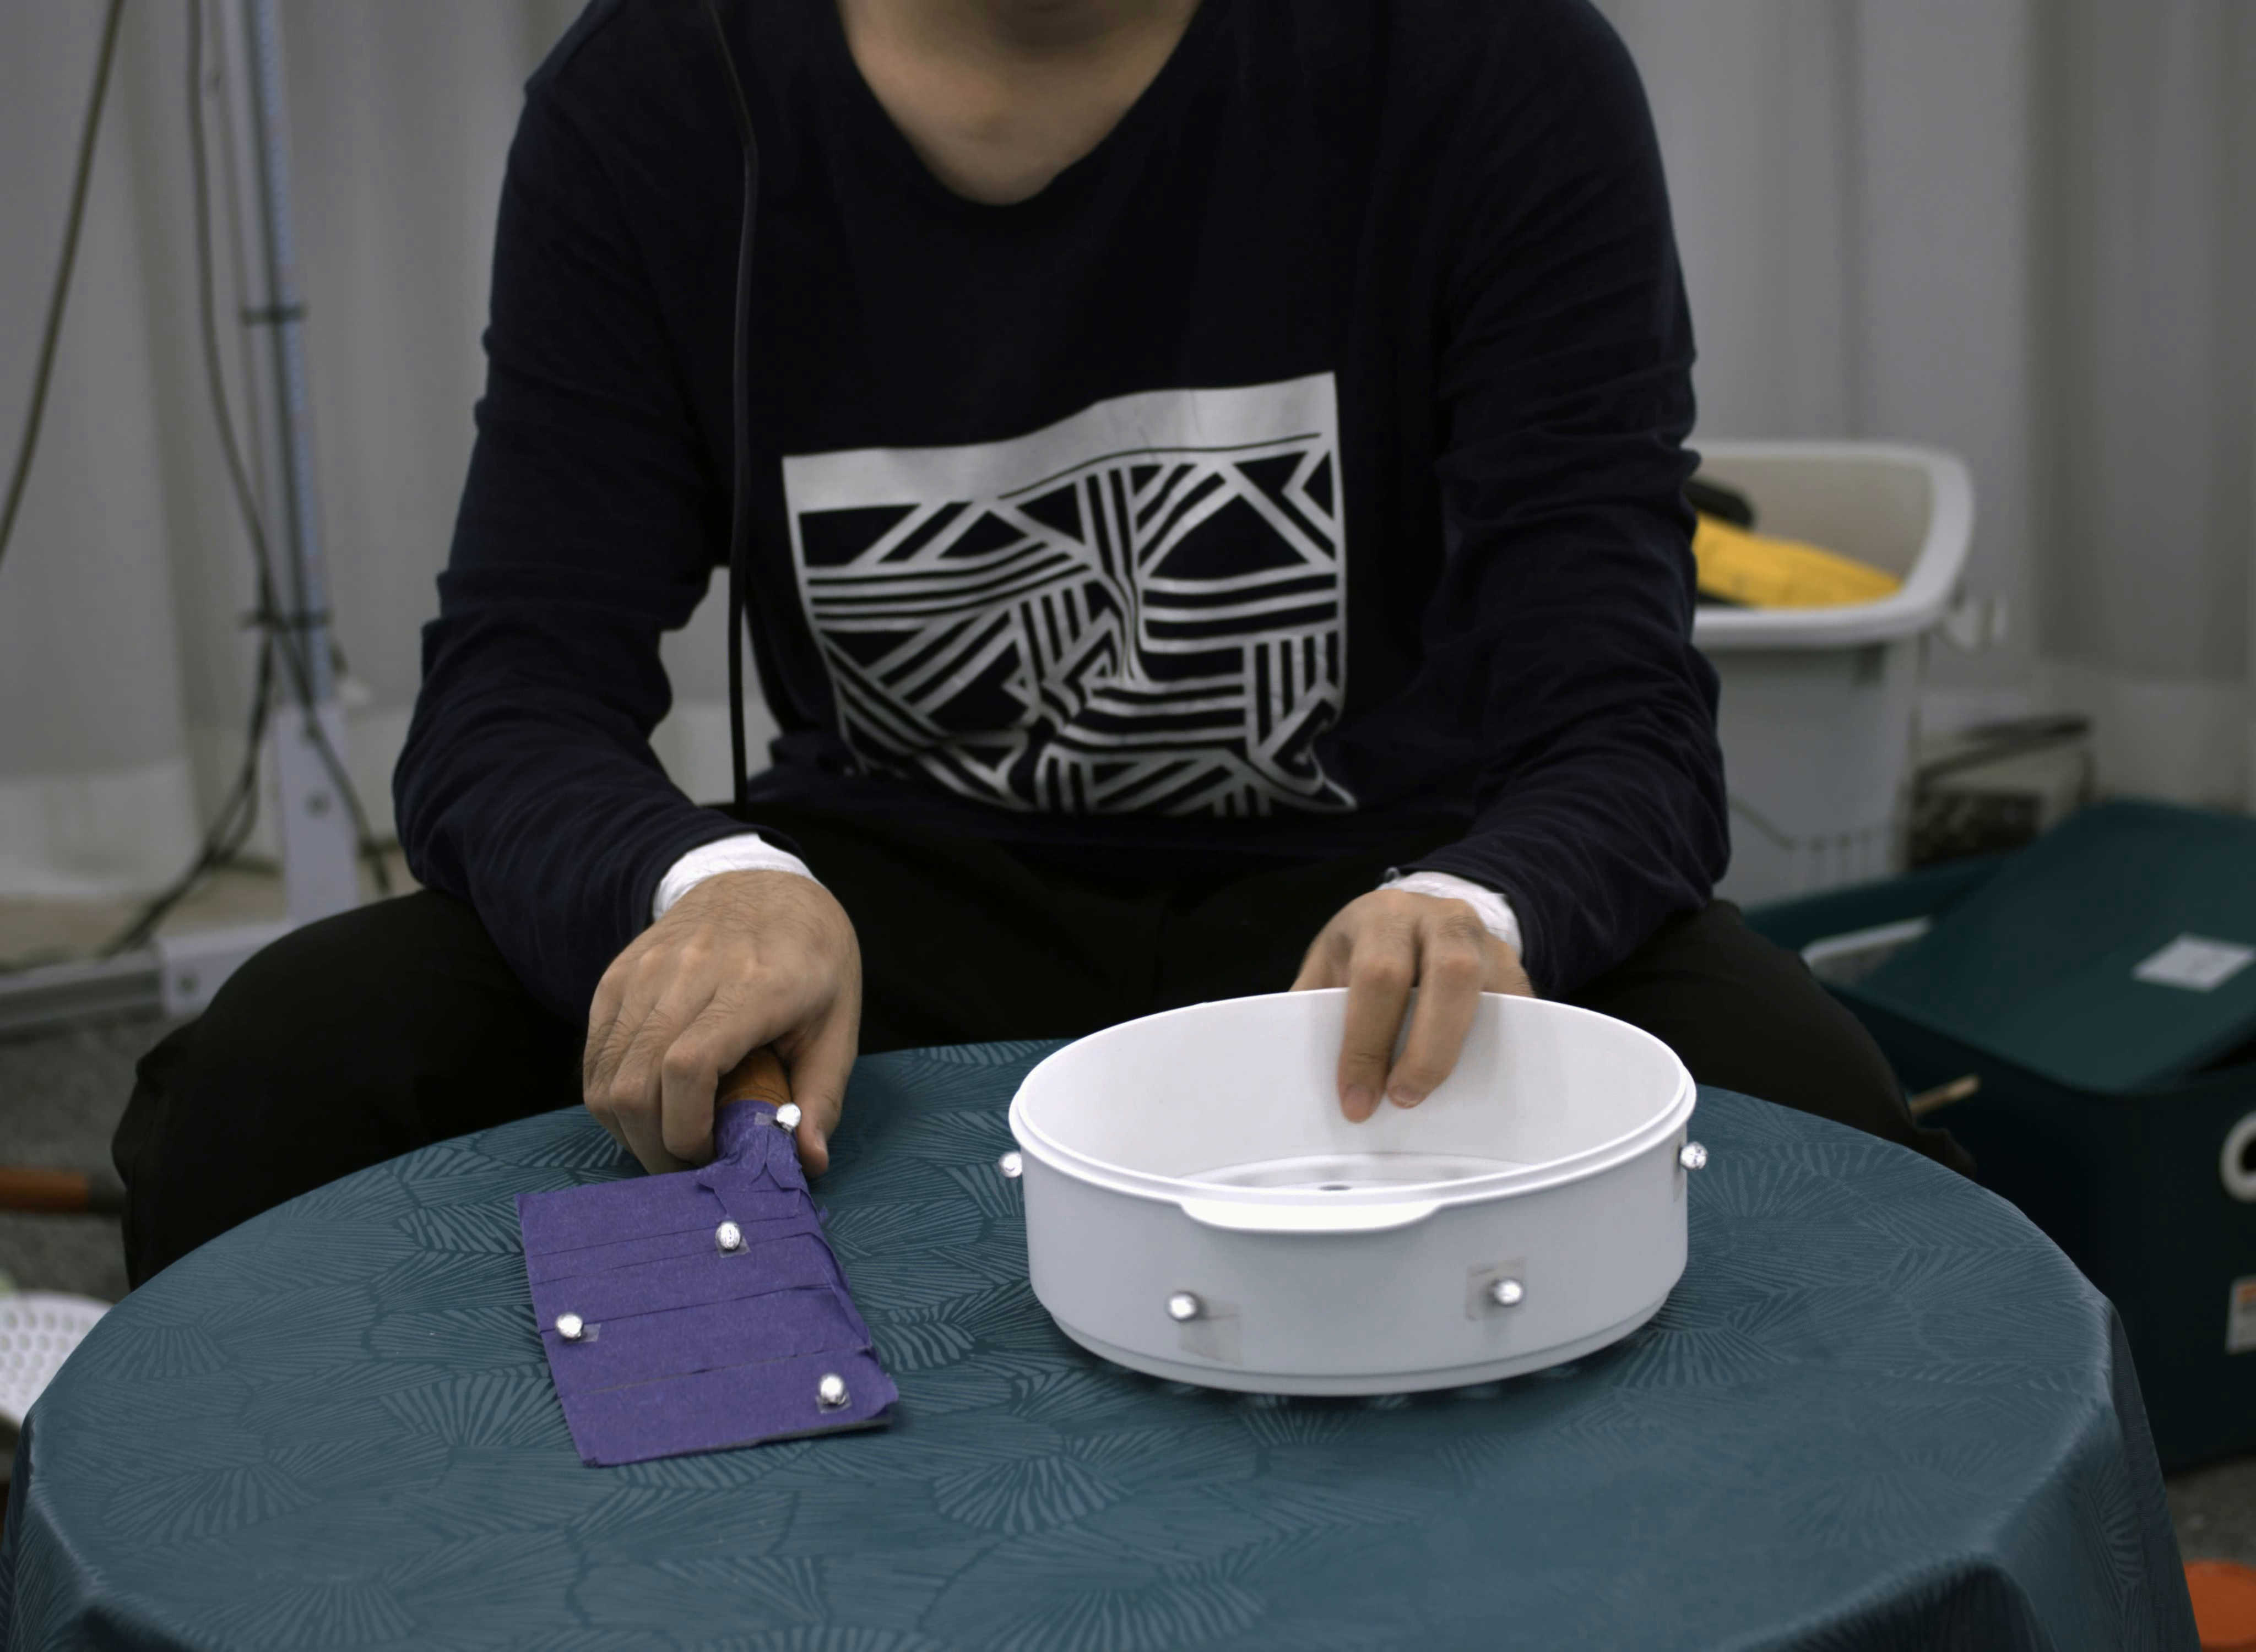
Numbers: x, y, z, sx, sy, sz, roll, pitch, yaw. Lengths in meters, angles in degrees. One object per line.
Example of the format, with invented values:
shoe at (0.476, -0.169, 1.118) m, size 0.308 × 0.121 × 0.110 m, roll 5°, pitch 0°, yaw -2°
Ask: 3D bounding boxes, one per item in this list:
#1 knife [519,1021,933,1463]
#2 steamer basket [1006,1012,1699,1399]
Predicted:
knife at (-0.135, 0.122, 1.658) m, size 0.103 × 0.032 × 0.318 m, roll -7°, pitch 16°, yaw -10°
steamer basket at (0.066, 0.110, 1.596) m, size 0.201 × 0.069 × 0.231 m, roll 1°, pitch 12°, yaw 8°
